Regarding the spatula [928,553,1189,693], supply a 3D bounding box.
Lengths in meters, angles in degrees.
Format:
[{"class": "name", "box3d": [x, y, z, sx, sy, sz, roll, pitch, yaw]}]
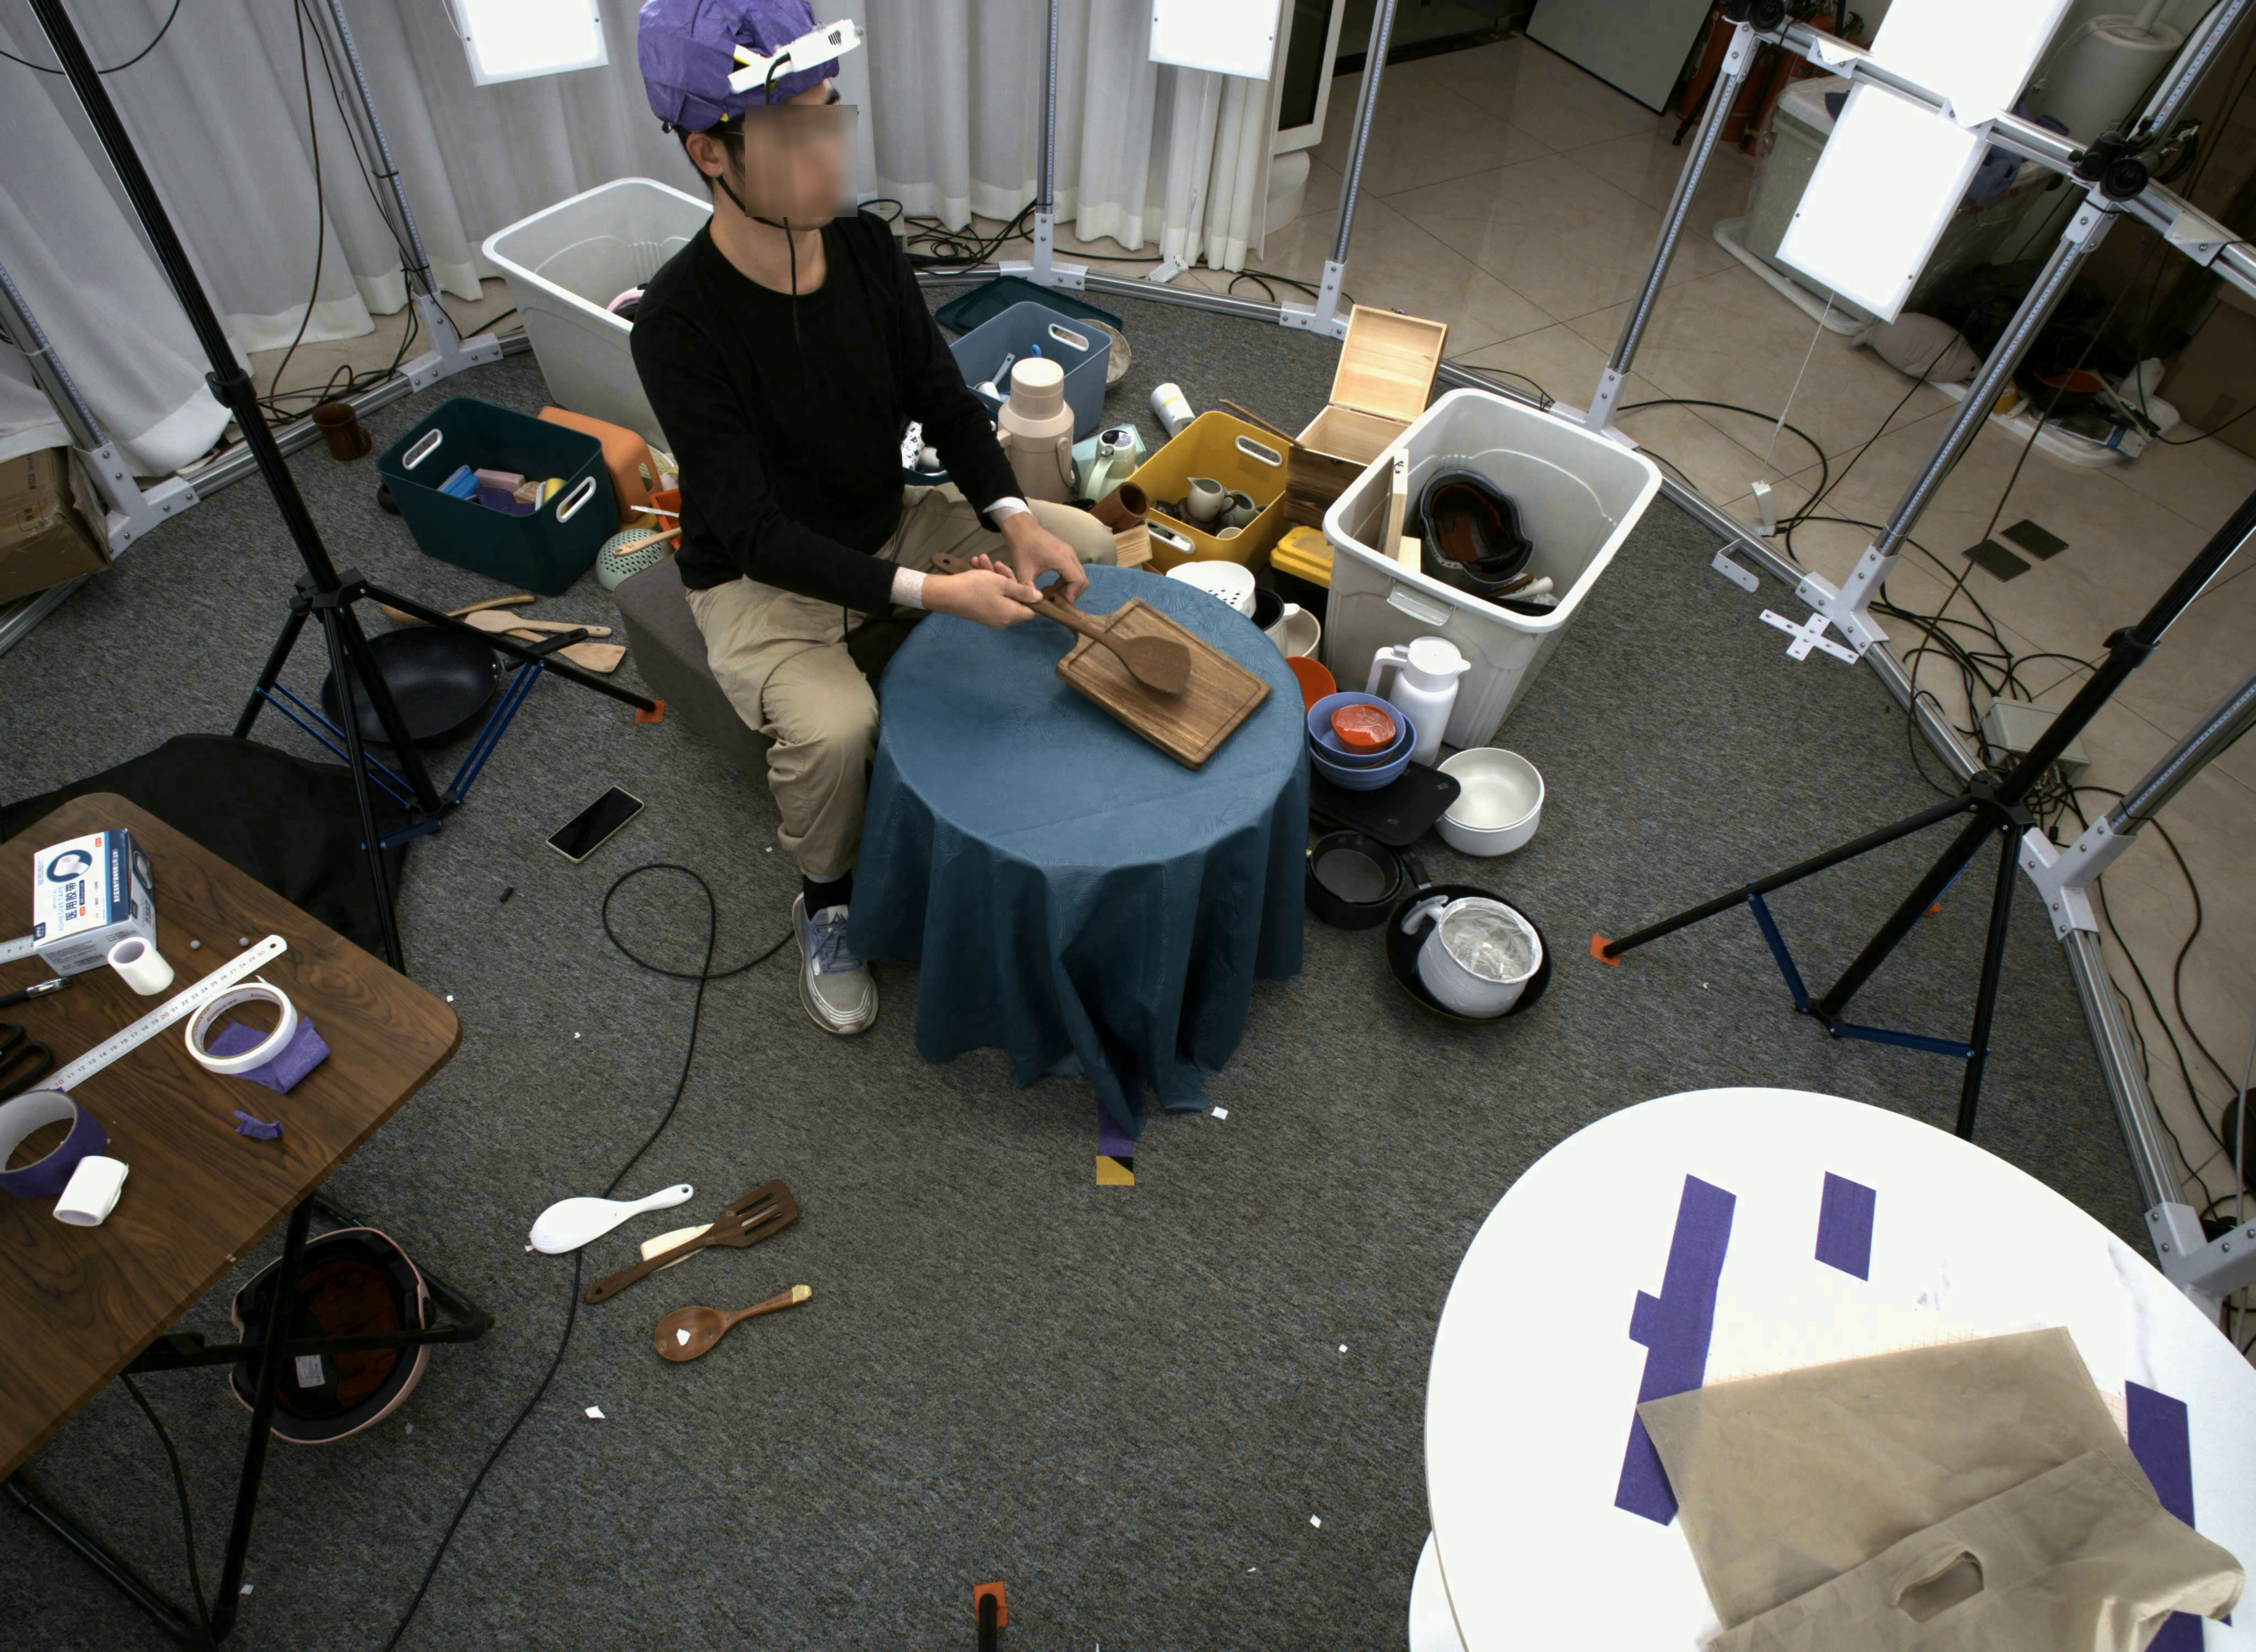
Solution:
[{"class": "spatula", "box3d": [-0.090, -0.284, 1.750, 0.384, 0.015, 0.098, 24, 52, -11]}]

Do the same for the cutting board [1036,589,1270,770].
[{"class": "cutting board", "box3d": [0.012, -0.236, 1.830, 0.355, 0.023, 0.204, 35, 55, 14]}]
